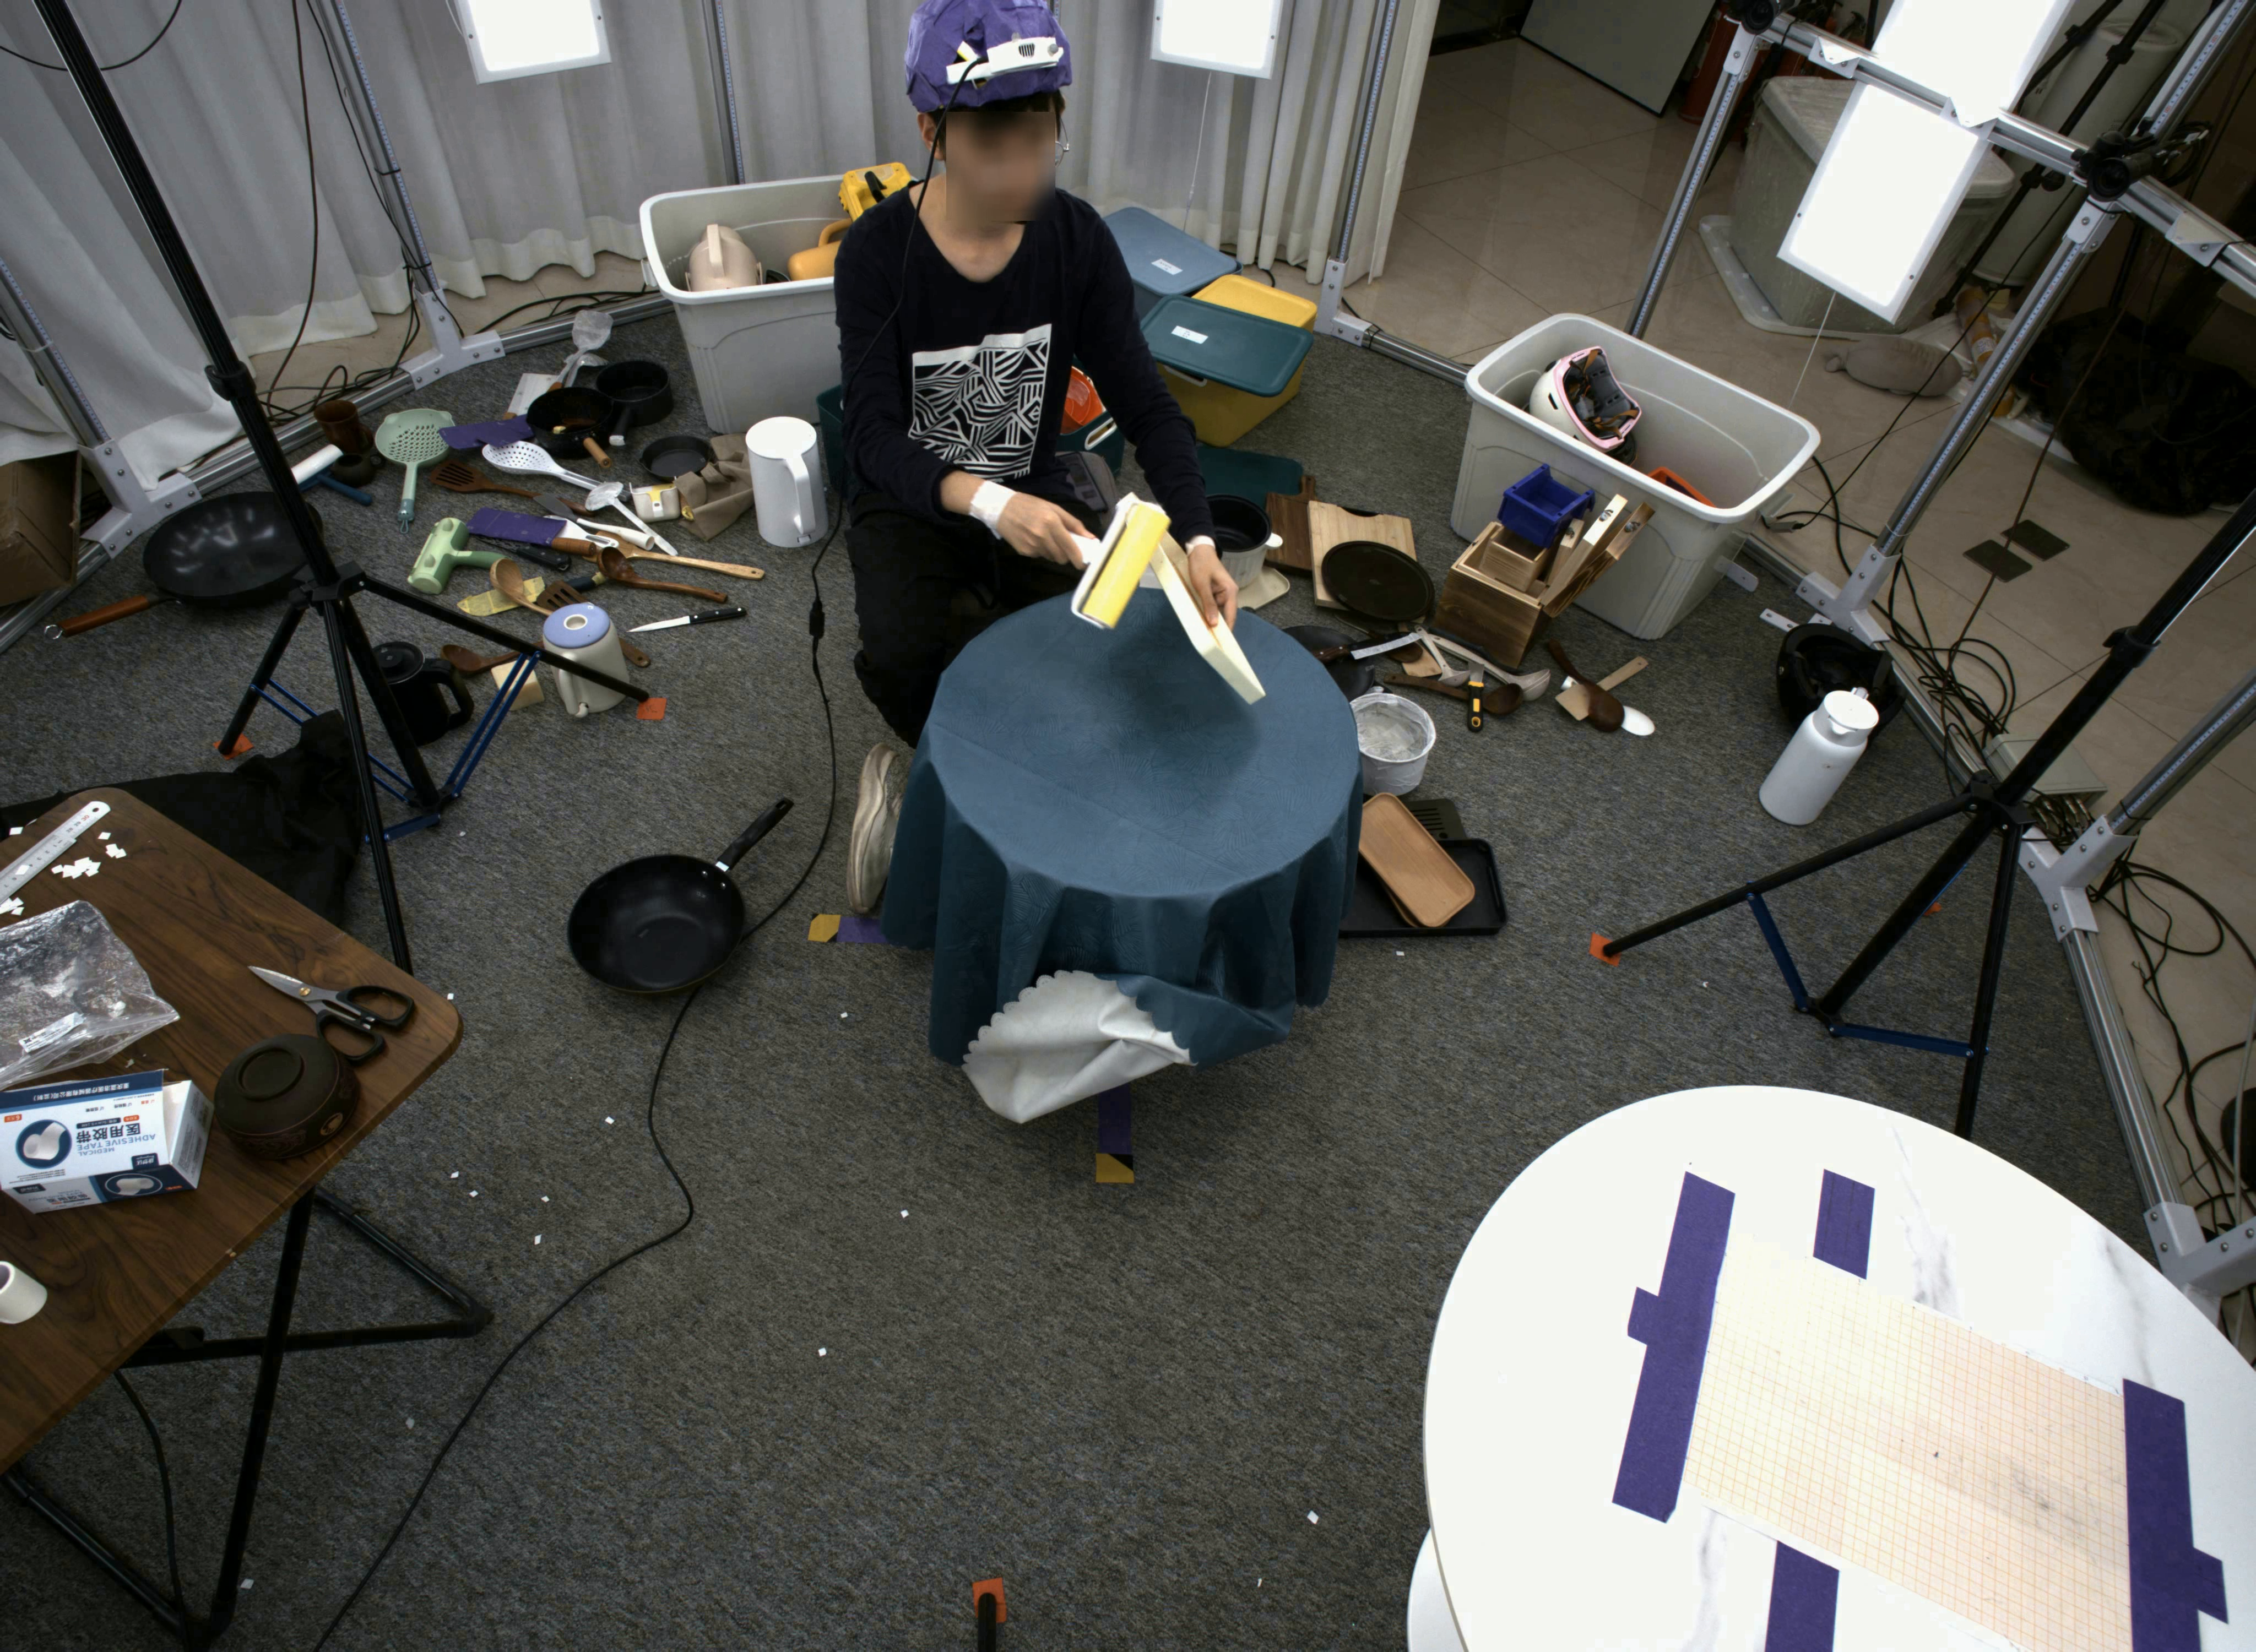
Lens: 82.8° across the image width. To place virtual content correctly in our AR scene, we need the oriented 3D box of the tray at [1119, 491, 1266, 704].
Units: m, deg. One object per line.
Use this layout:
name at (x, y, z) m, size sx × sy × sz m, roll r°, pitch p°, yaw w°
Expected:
tray at (0.089, -0.317, 1.786) m, size 0.027 × 0.188 × 0.307 m, roll -34°, pitch 56°, yaw 14°

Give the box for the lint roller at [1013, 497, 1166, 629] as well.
lint roller at (-0.070, -0.368, 1.687) m, size 0.193 × 0.051 × 0.174 m, roll 26°, pitch 87°, yaw 13°
